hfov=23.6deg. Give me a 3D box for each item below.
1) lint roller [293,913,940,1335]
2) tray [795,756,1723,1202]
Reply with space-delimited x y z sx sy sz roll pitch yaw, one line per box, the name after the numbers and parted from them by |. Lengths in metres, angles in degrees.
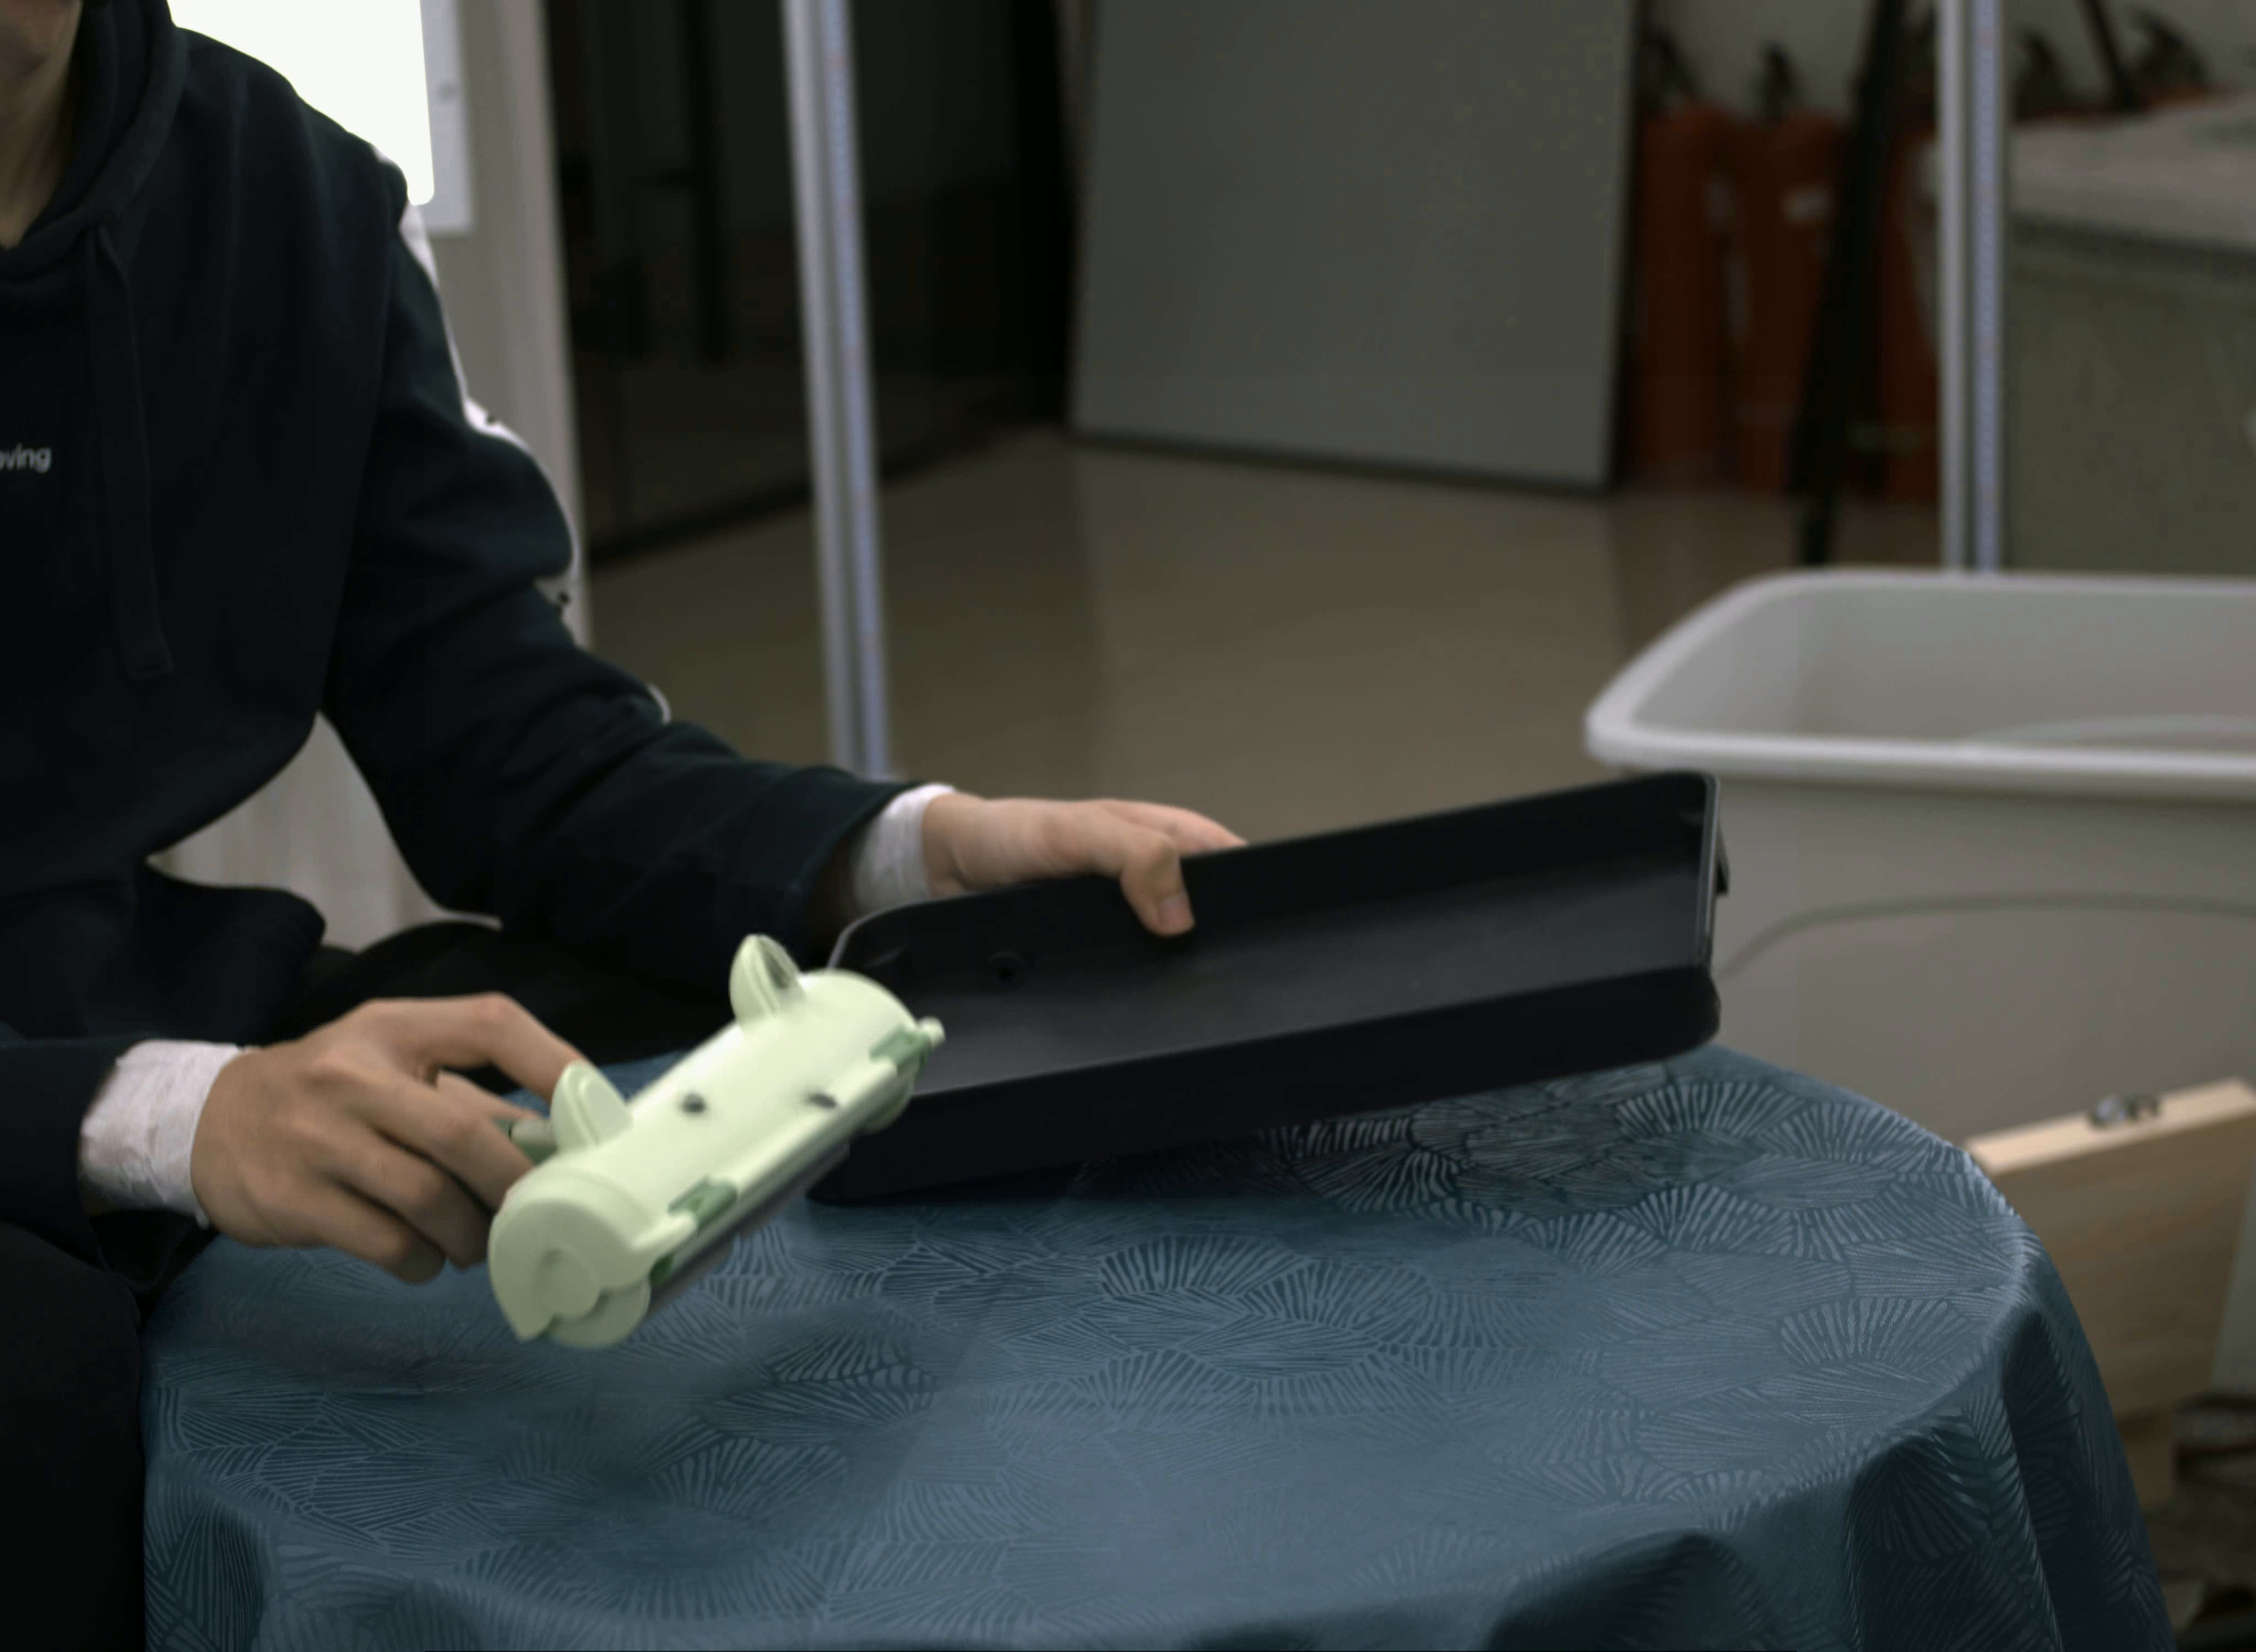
-0.173 0.082 1.615 0.183 0.083 0.196 2 18 23 | lint roller
0.044 0.050 1.815 0.316 0.037 0.184 -12 18 13 | tray
